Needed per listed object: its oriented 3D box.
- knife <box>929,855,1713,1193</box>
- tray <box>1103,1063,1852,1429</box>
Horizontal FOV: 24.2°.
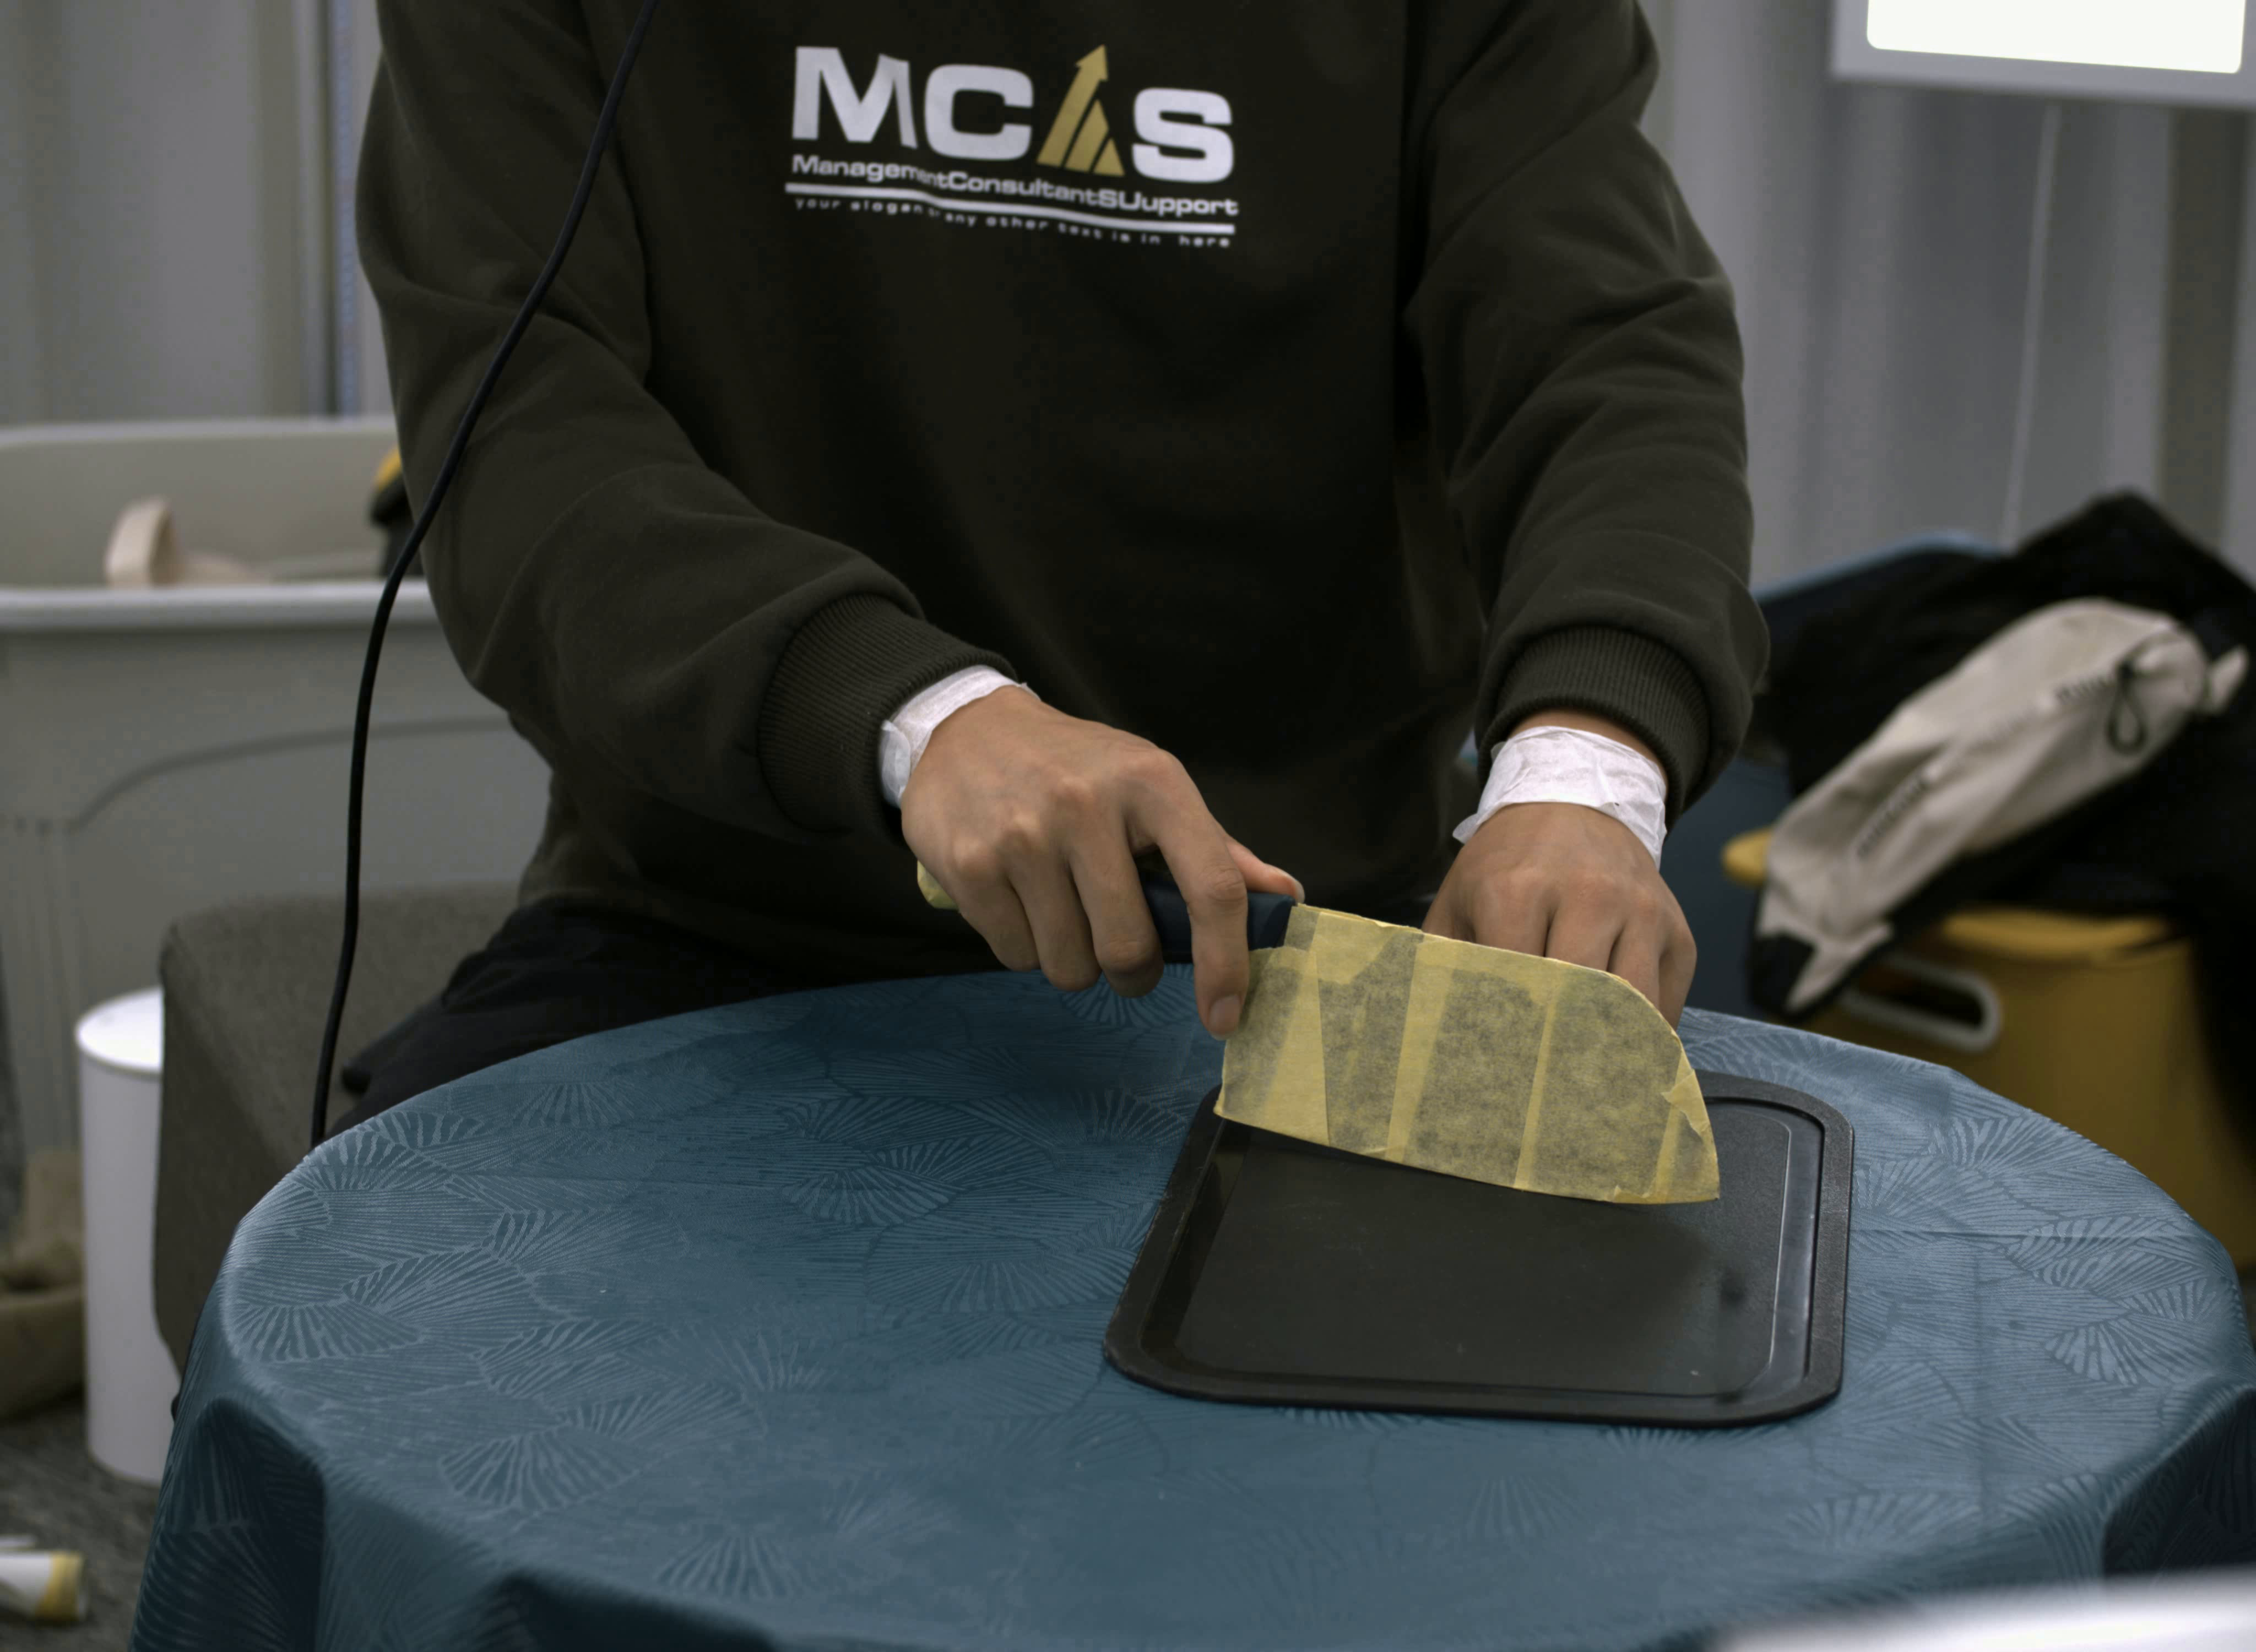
[{"bbox_3d":[0.056,0.060,1.660,0.286,0.081,0.027,15,3,29],"label":"knife"},{"bbox_3d":[0.112,0.117,1.598,0.210,0.010,0.324,3,16,8],"label":"tray"}]
